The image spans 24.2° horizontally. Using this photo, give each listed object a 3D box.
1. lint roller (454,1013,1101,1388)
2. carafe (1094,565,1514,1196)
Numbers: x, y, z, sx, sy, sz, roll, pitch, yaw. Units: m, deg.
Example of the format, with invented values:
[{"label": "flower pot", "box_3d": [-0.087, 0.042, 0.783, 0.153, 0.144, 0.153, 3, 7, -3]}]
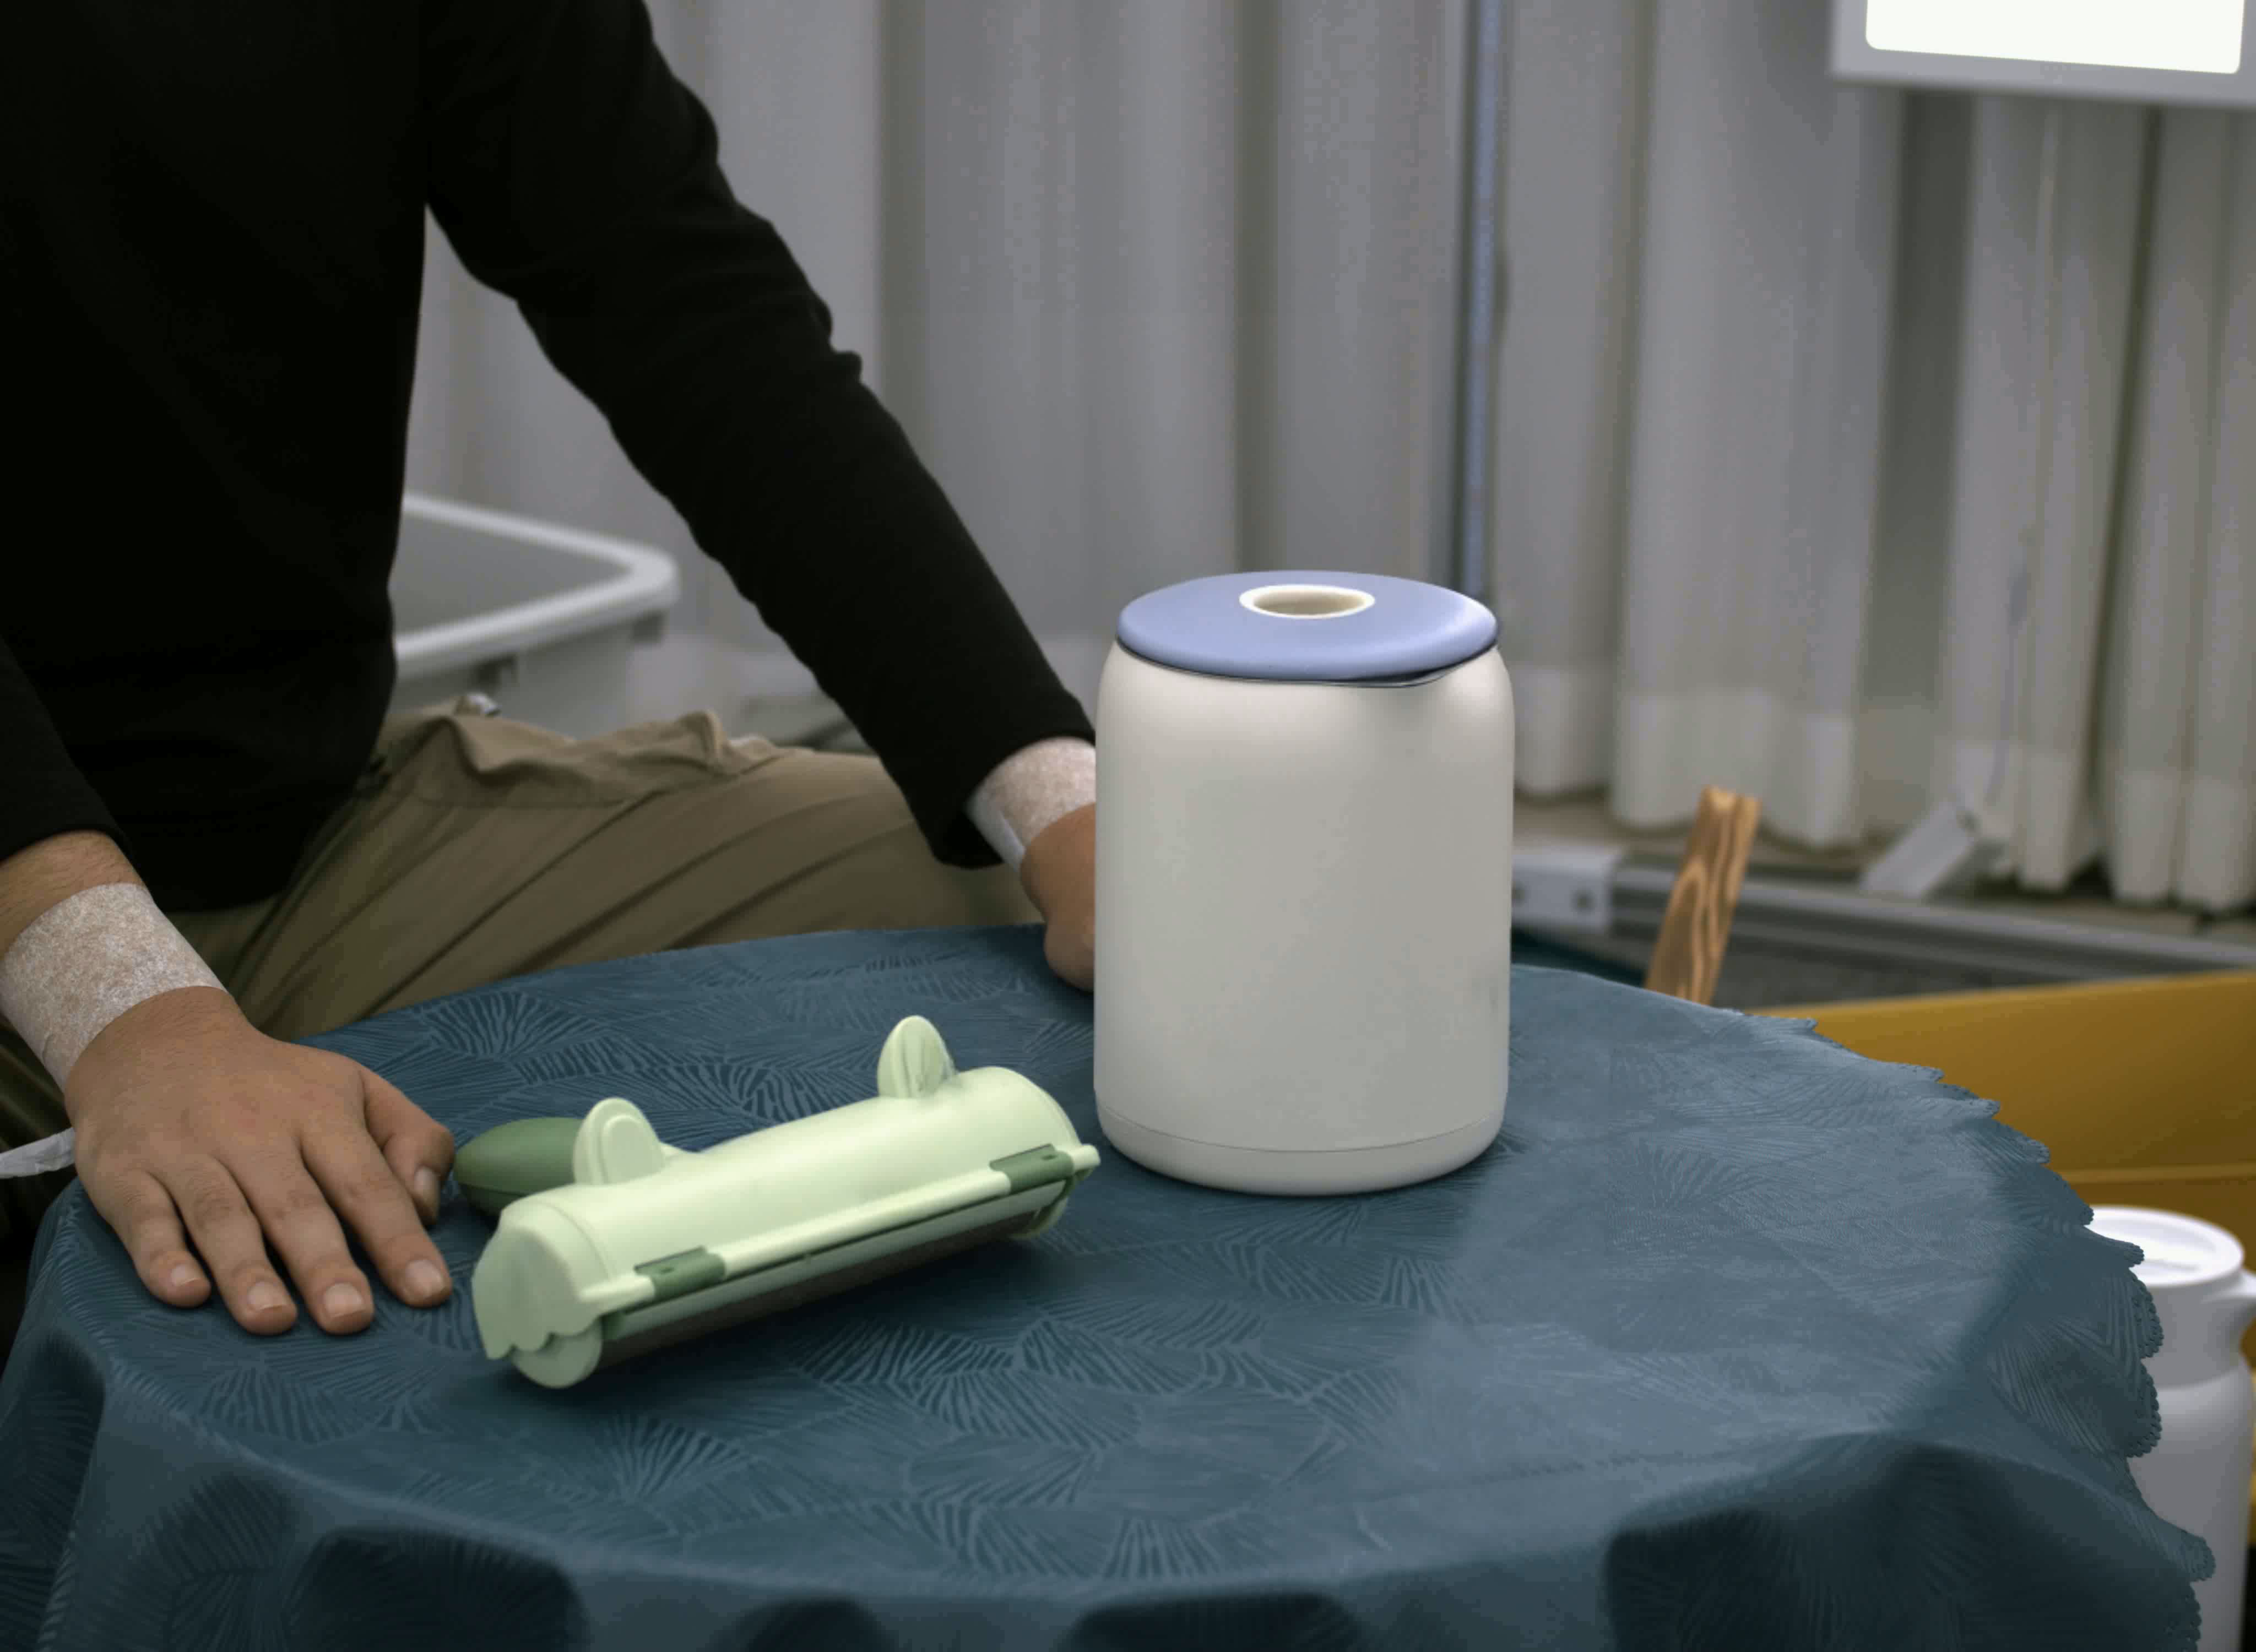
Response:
[{"label": "lint roller", "box_3d": [-0.136, 0.094, 1.539, 0.181, 0.083, 0.199, 18, 22, 41]}, {"label": "carafe", "box_3d": [0.043, 0.010, 1.668, 0.133, 0.184, 0.189, -7, 16, -27]}]
